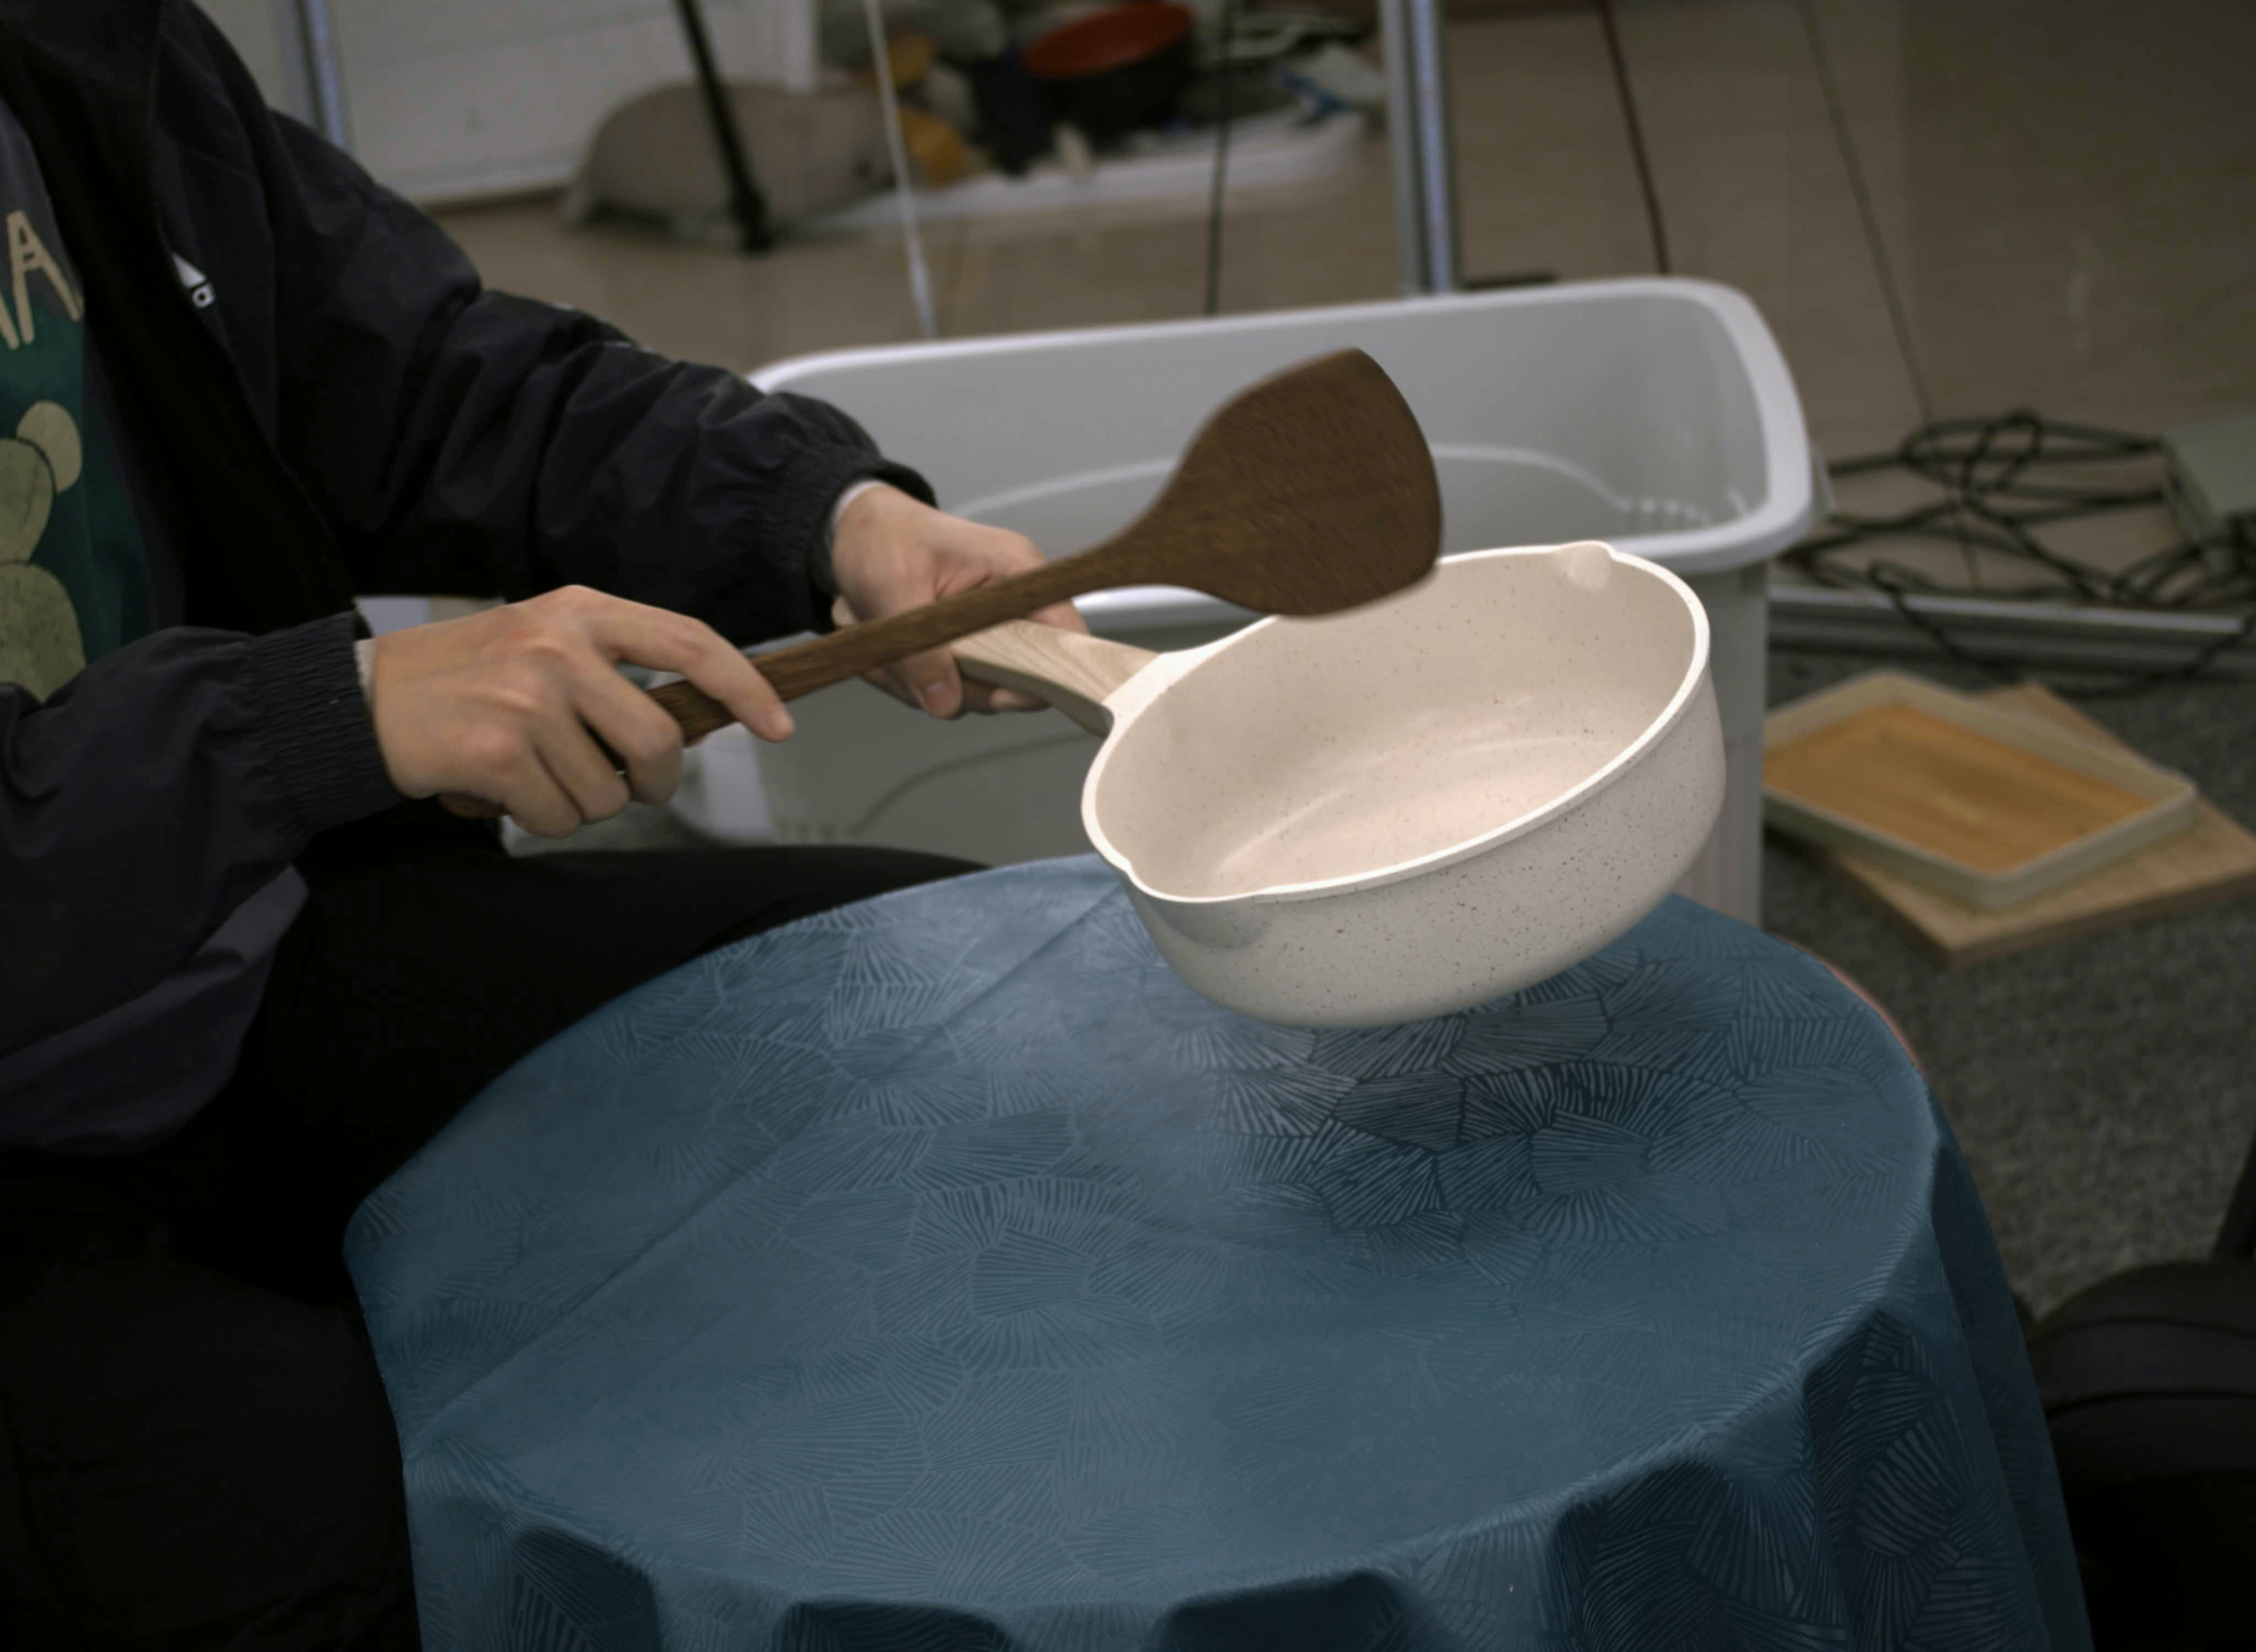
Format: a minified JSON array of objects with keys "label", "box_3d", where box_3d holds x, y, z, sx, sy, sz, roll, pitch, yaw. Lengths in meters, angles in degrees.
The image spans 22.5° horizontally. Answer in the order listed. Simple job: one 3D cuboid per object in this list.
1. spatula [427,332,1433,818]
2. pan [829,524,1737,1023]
[{"label":"spatula","box_3d":[-0.075,-0.077,2.068,0.386,0.097,0.015,-20,15,3]},{"label":"pan","box_3d":[0.050,-0.030,2.238,0.433,0.103,0.260,9,41,45]}]
